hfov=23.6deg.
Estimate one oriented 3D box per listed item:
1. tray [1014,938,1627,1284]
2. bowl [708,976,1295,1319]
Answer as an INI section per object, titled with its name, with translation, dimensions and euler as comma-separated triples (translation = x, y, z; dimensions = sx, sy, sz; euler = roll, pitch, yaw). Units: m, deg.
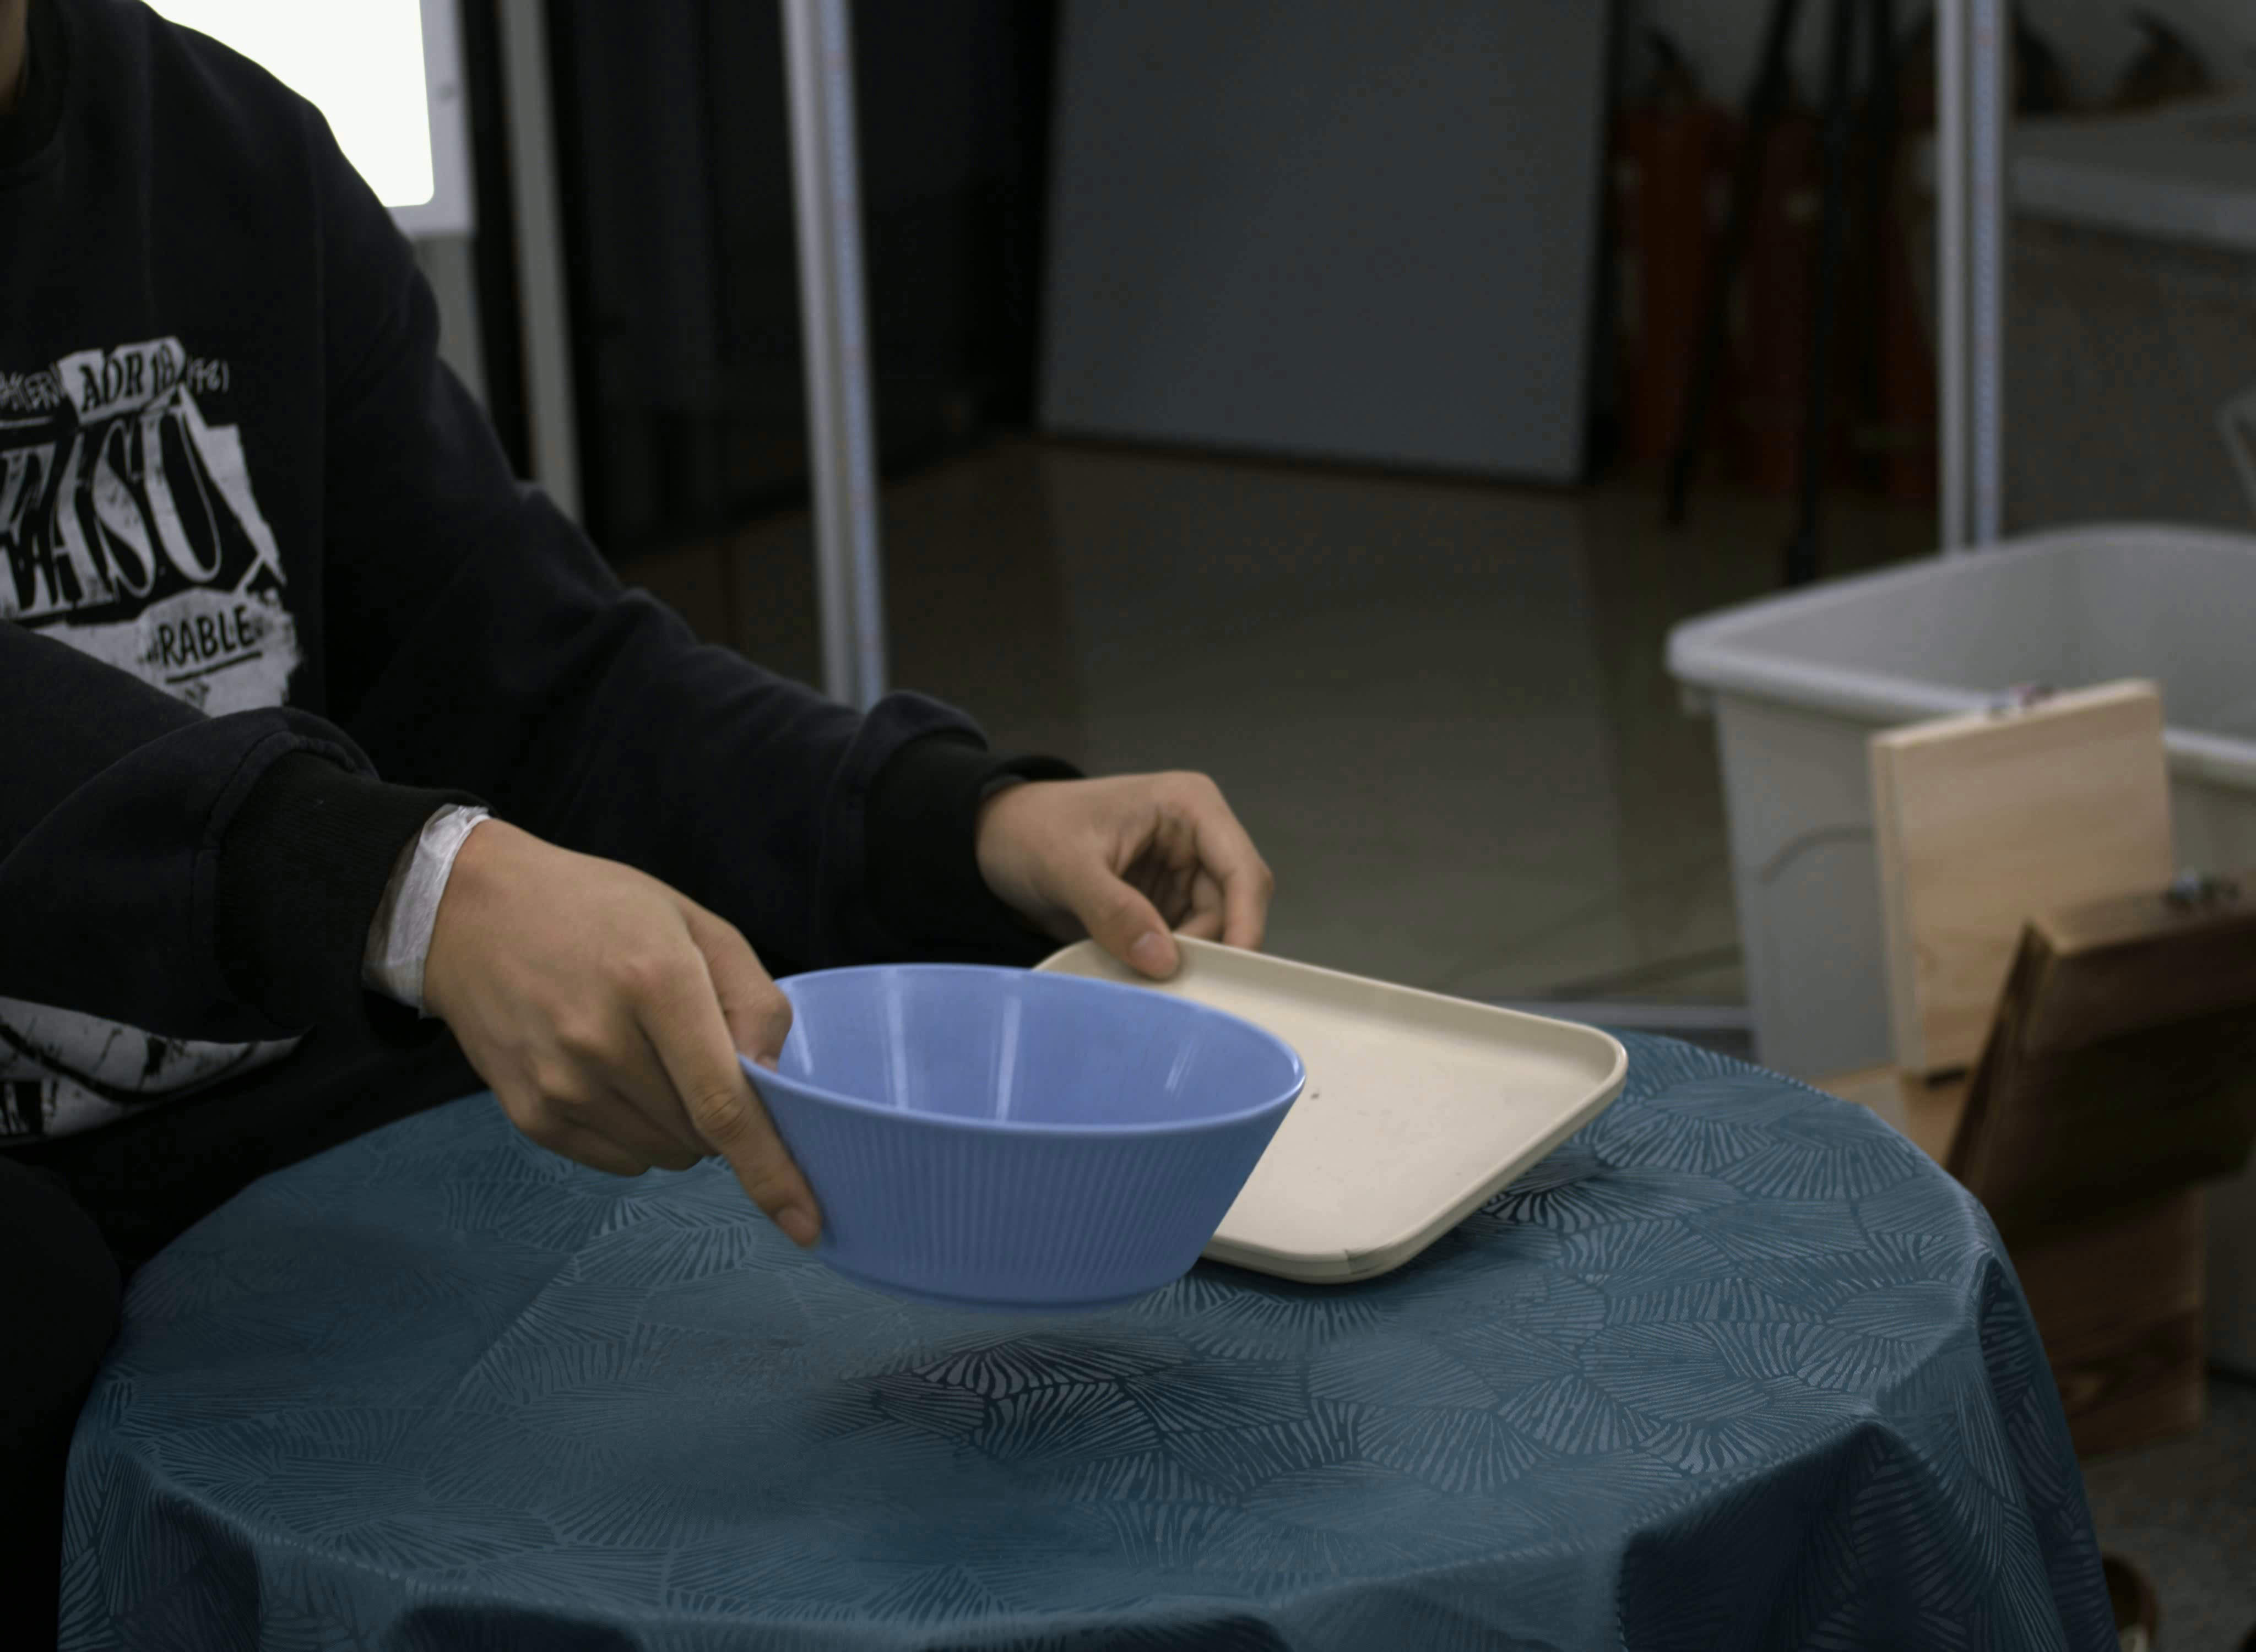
[tray]
translation = 0.033, 0.093, 1.774
dimensions = 0.241, 0.017, 0.168
euler = 11, 30, 40
[bowl]
translation = -0.040, 0.096, 1.585
dimensions = 0.173, 0.071, 0.176
euler = 5, 11, -2
